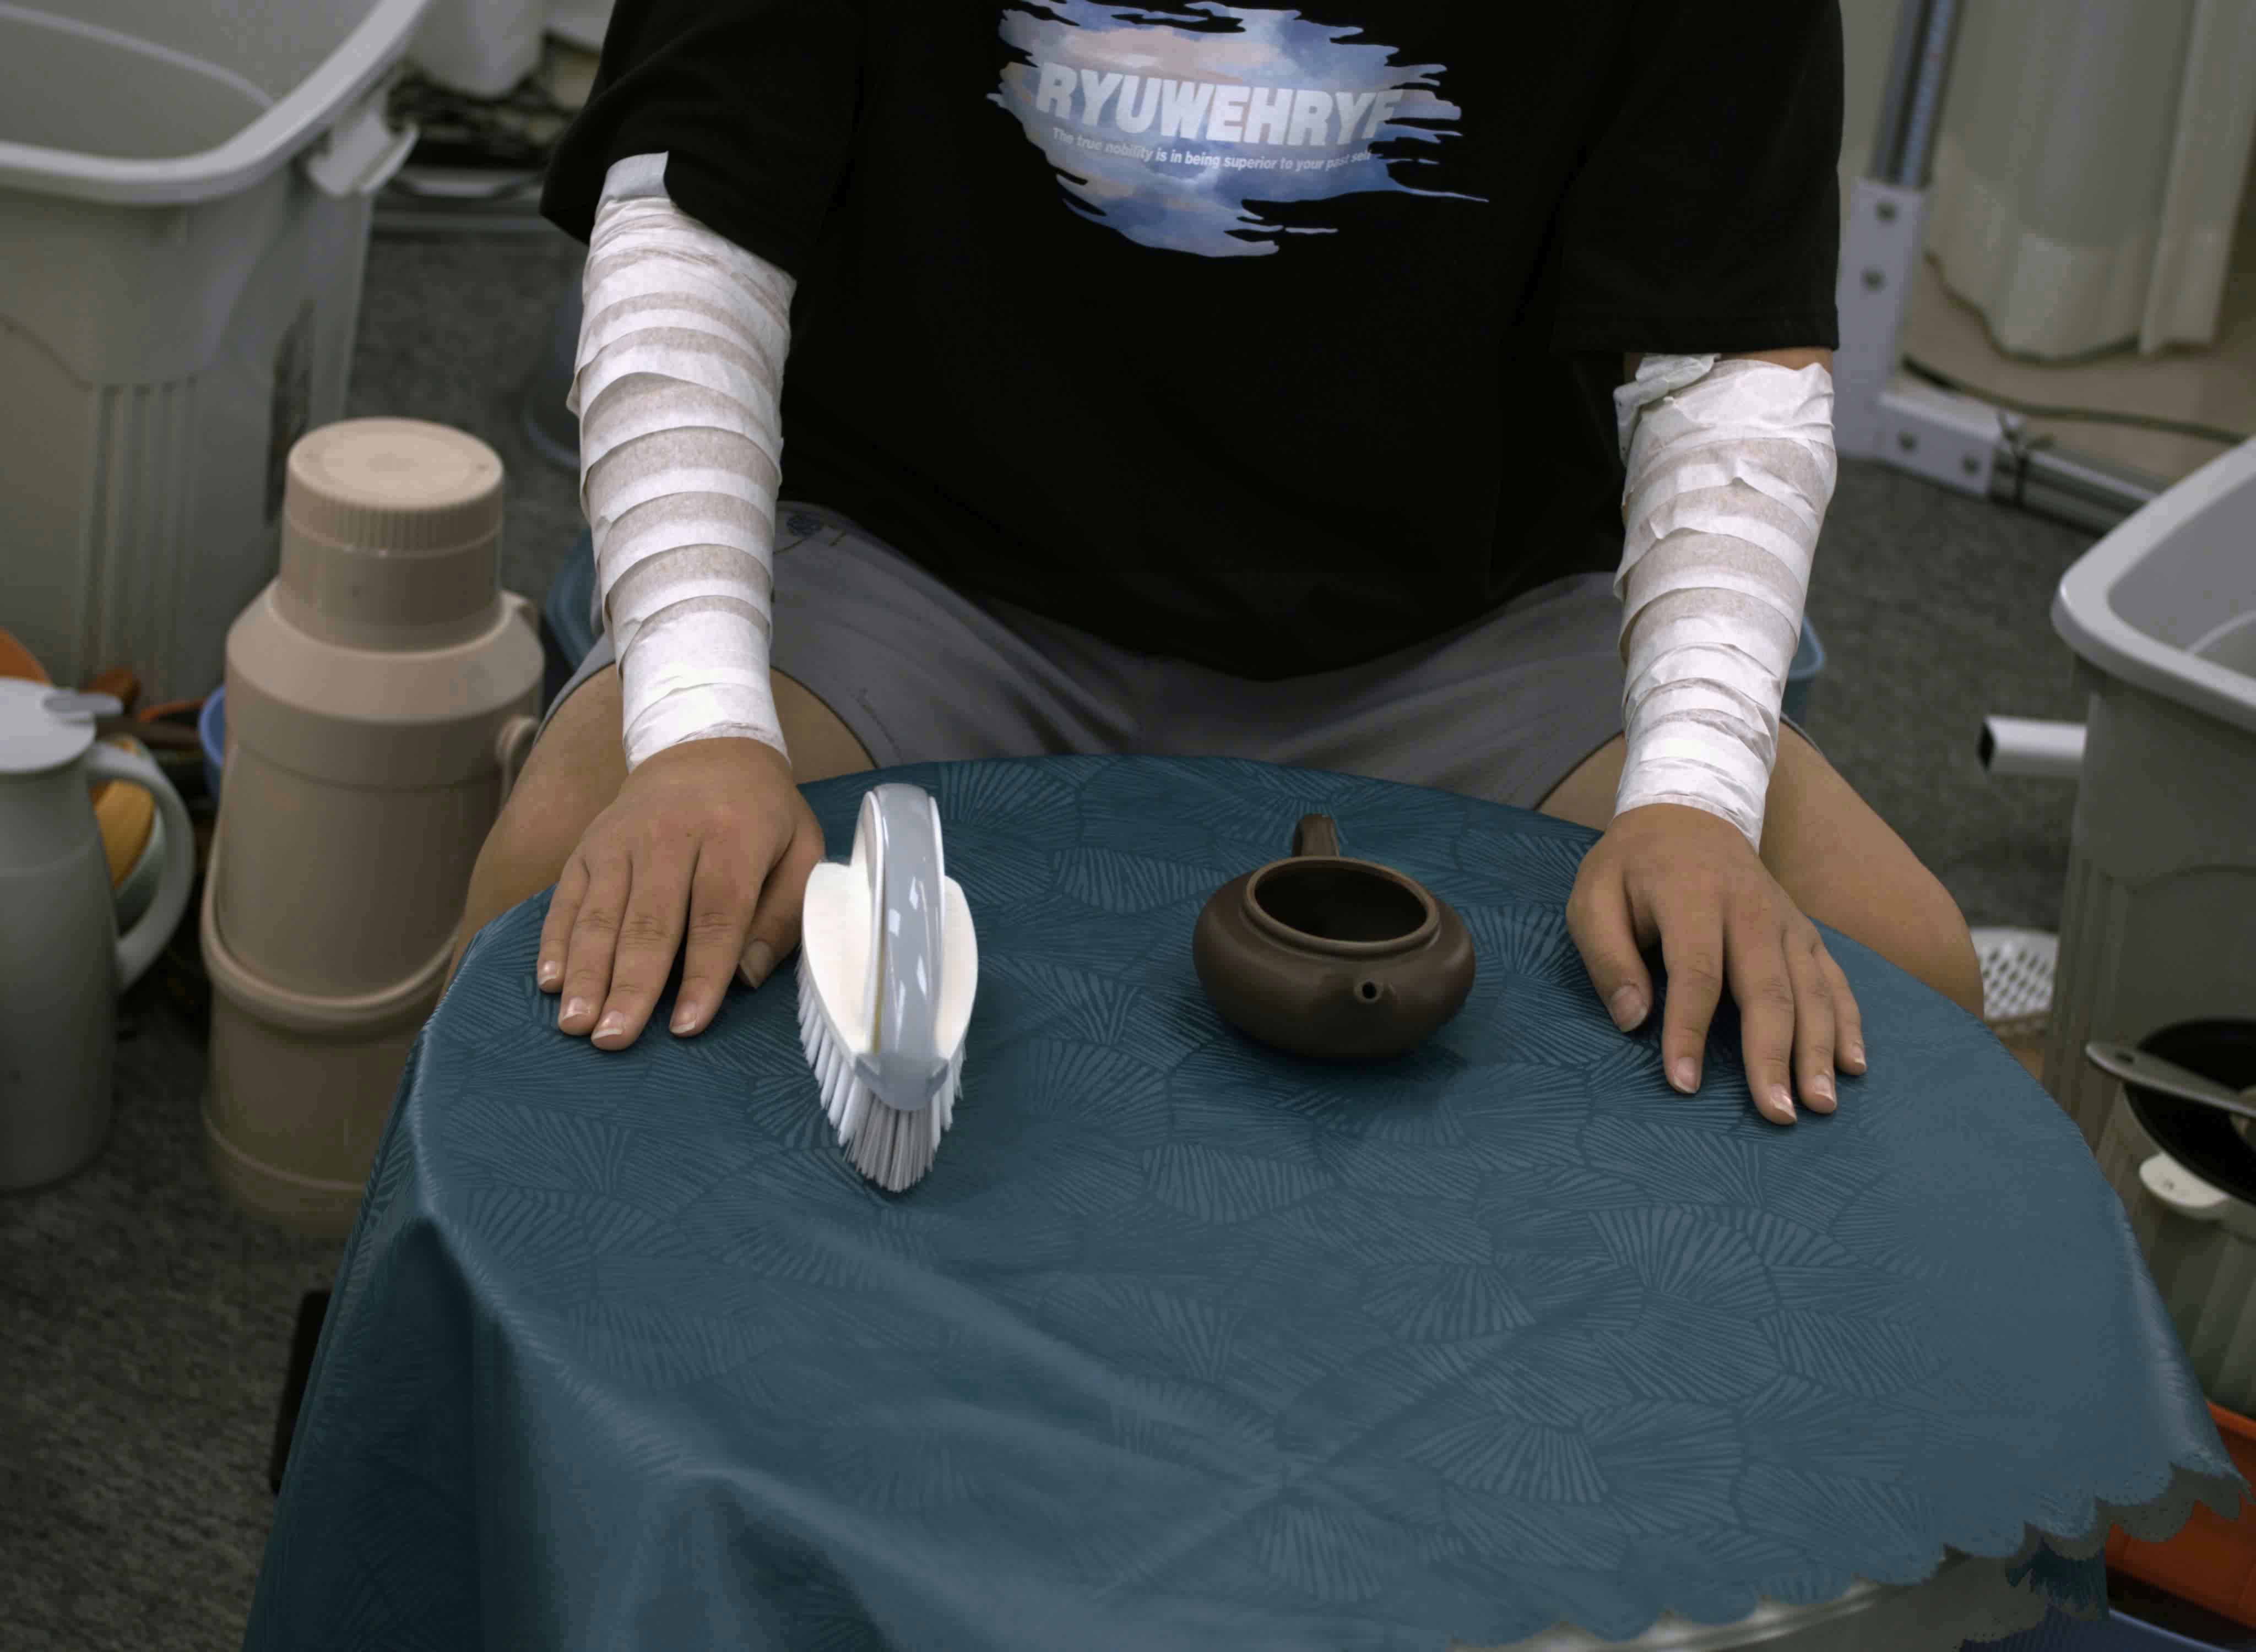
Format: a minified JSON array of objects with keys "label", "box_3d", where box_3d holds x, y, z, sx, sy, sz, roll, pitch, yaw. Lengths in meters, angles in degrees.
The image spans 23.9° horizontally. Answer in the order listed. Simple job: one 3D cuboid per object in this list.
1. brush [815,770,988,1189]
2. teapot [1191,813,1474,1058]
[{"label":"brush","box_3d":[-0.077,0.045,1.842,0.061,0.094,0.177,1,29,-5]},{"label":"teapot","box_3d":[0.073,0.043,1.920,0.102,0.053,0.155,2,27,-13]}]
